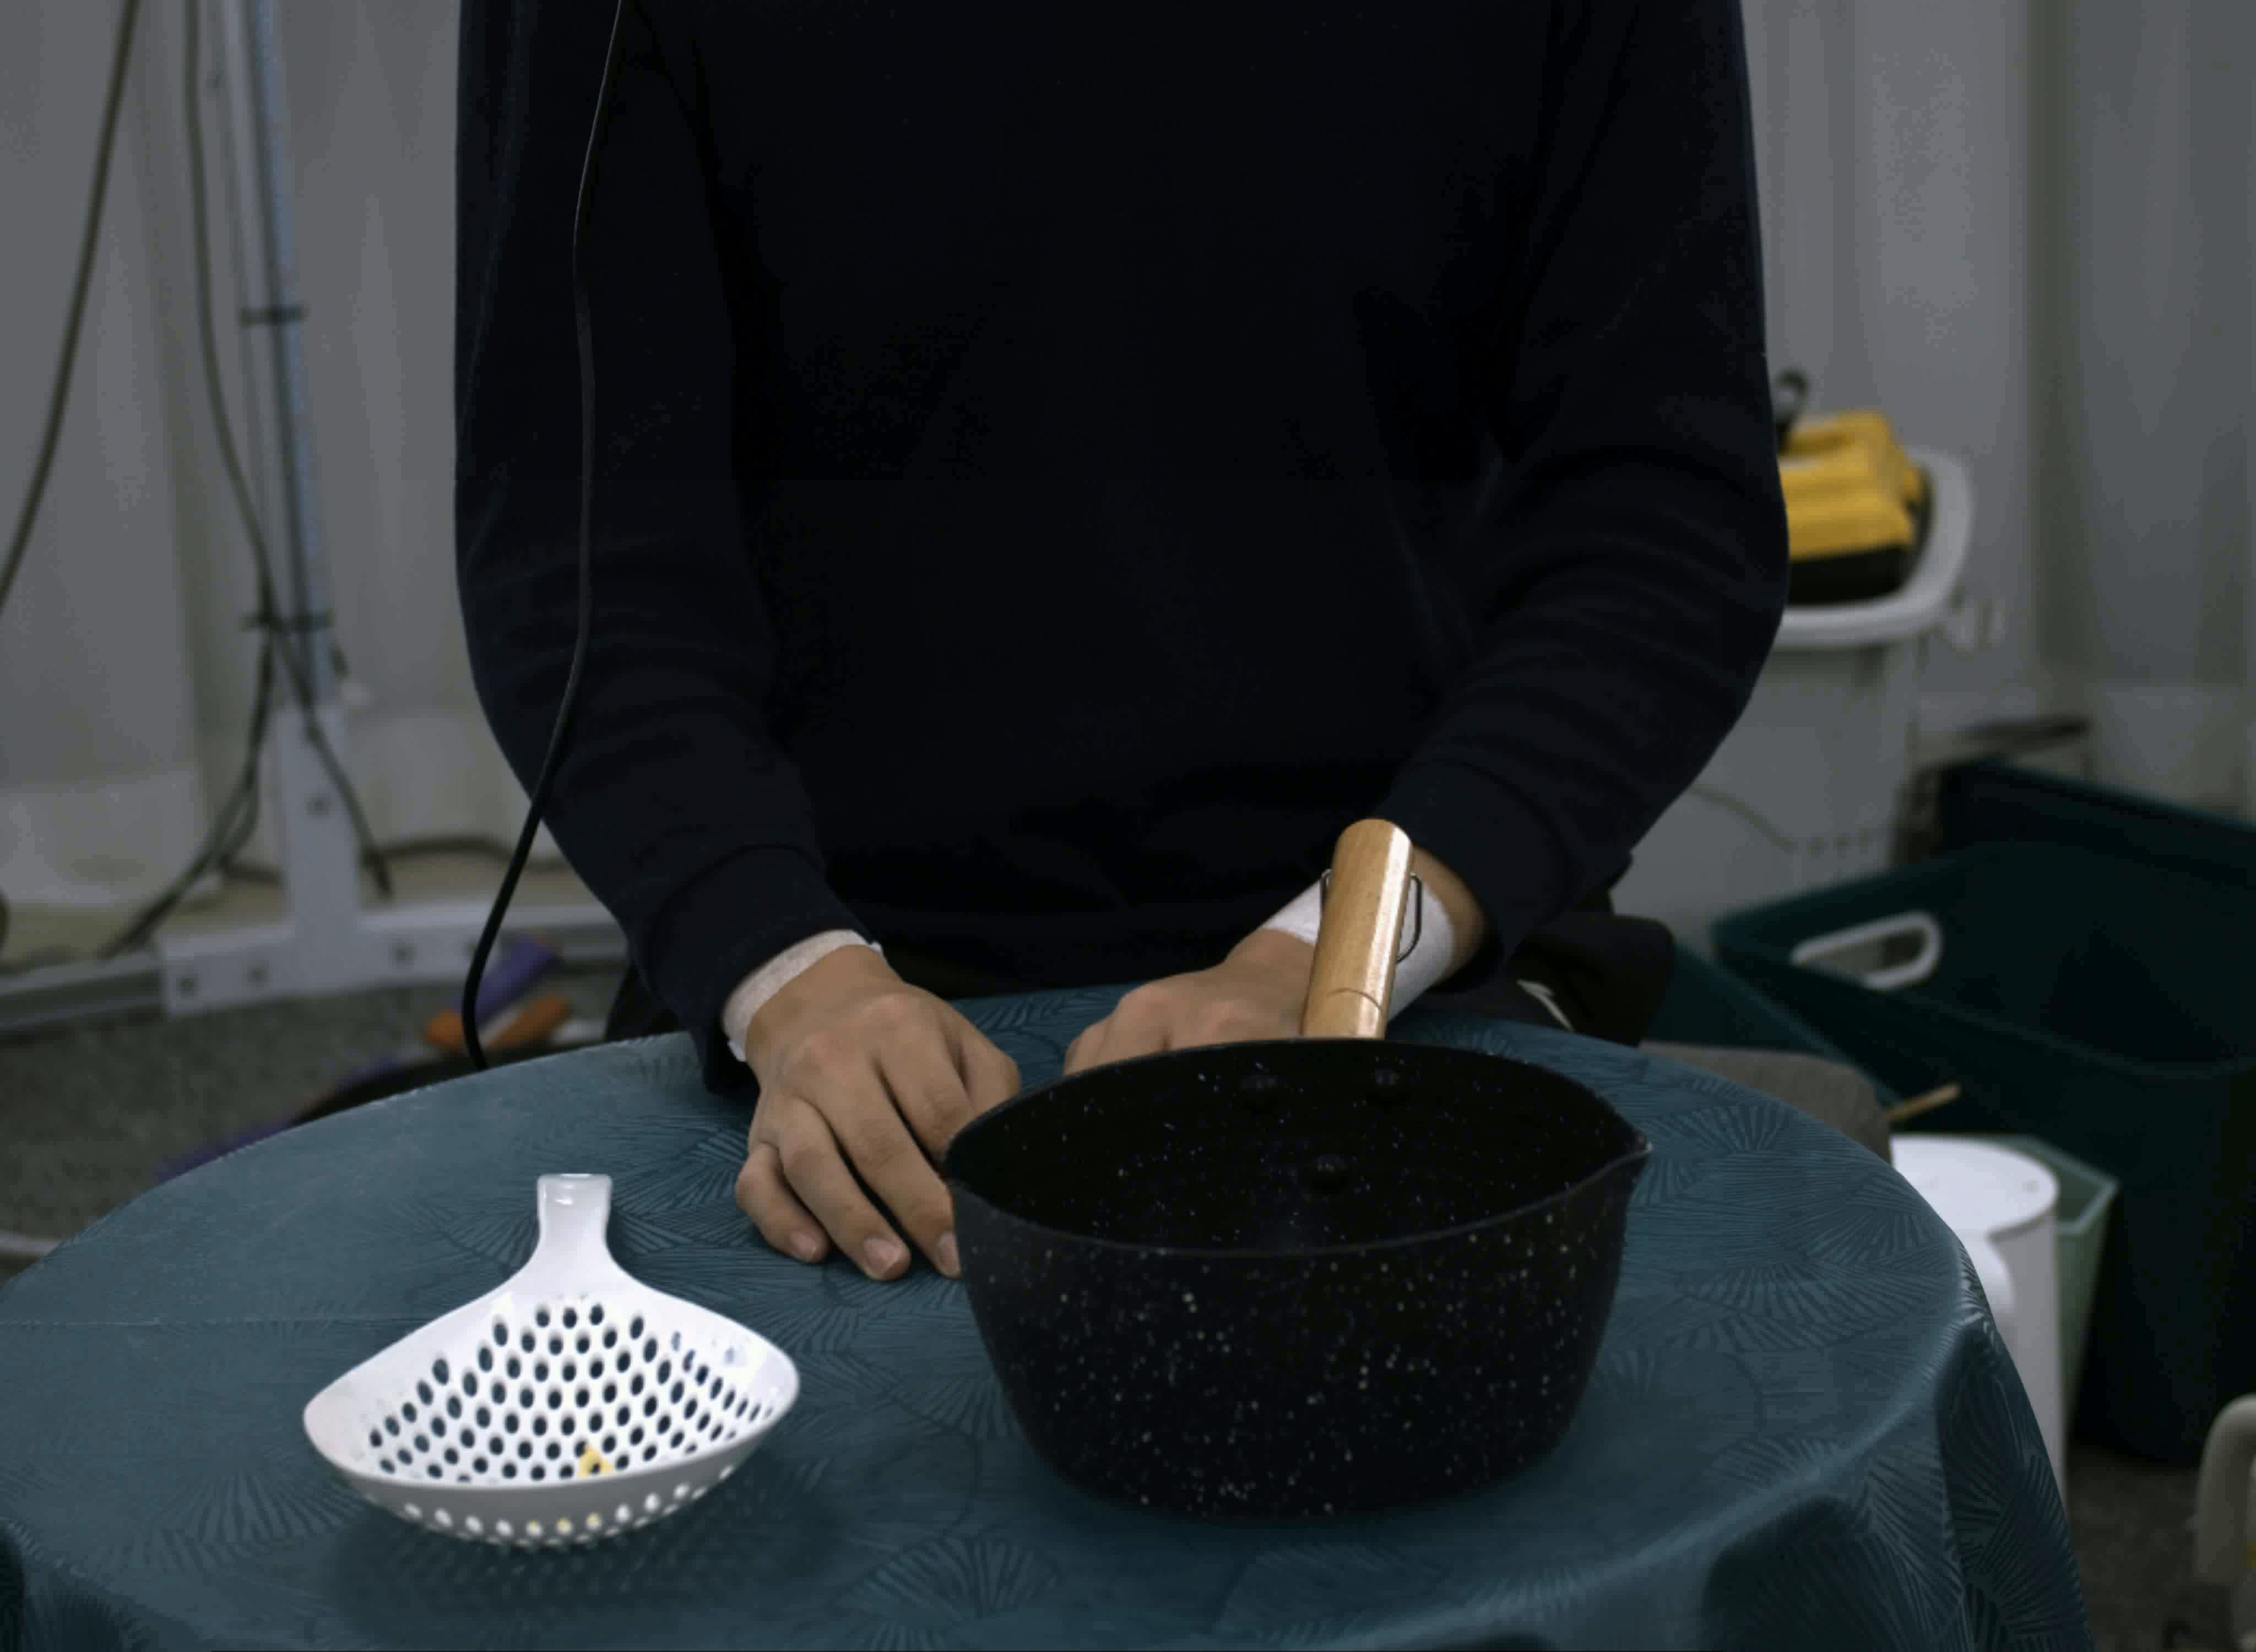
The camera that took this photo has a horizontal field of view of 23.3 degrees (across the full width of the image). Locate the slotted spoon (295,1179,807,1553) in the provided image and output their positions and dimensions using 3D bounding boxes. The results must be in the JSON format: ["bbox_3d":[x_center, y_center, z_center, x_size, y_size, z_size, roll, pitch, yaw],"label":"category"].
[{"bbox_3d":[-0.163,0.140,1.570,0.136,0.050,0.351,-6,17,-4],"label":"slotted spoon"}]

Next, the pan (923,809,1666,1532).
[{"bbox_3d":[0.055,0.094,1.576,0.207,0.108,0.345,-2,16,8],"label":"pan"}]
